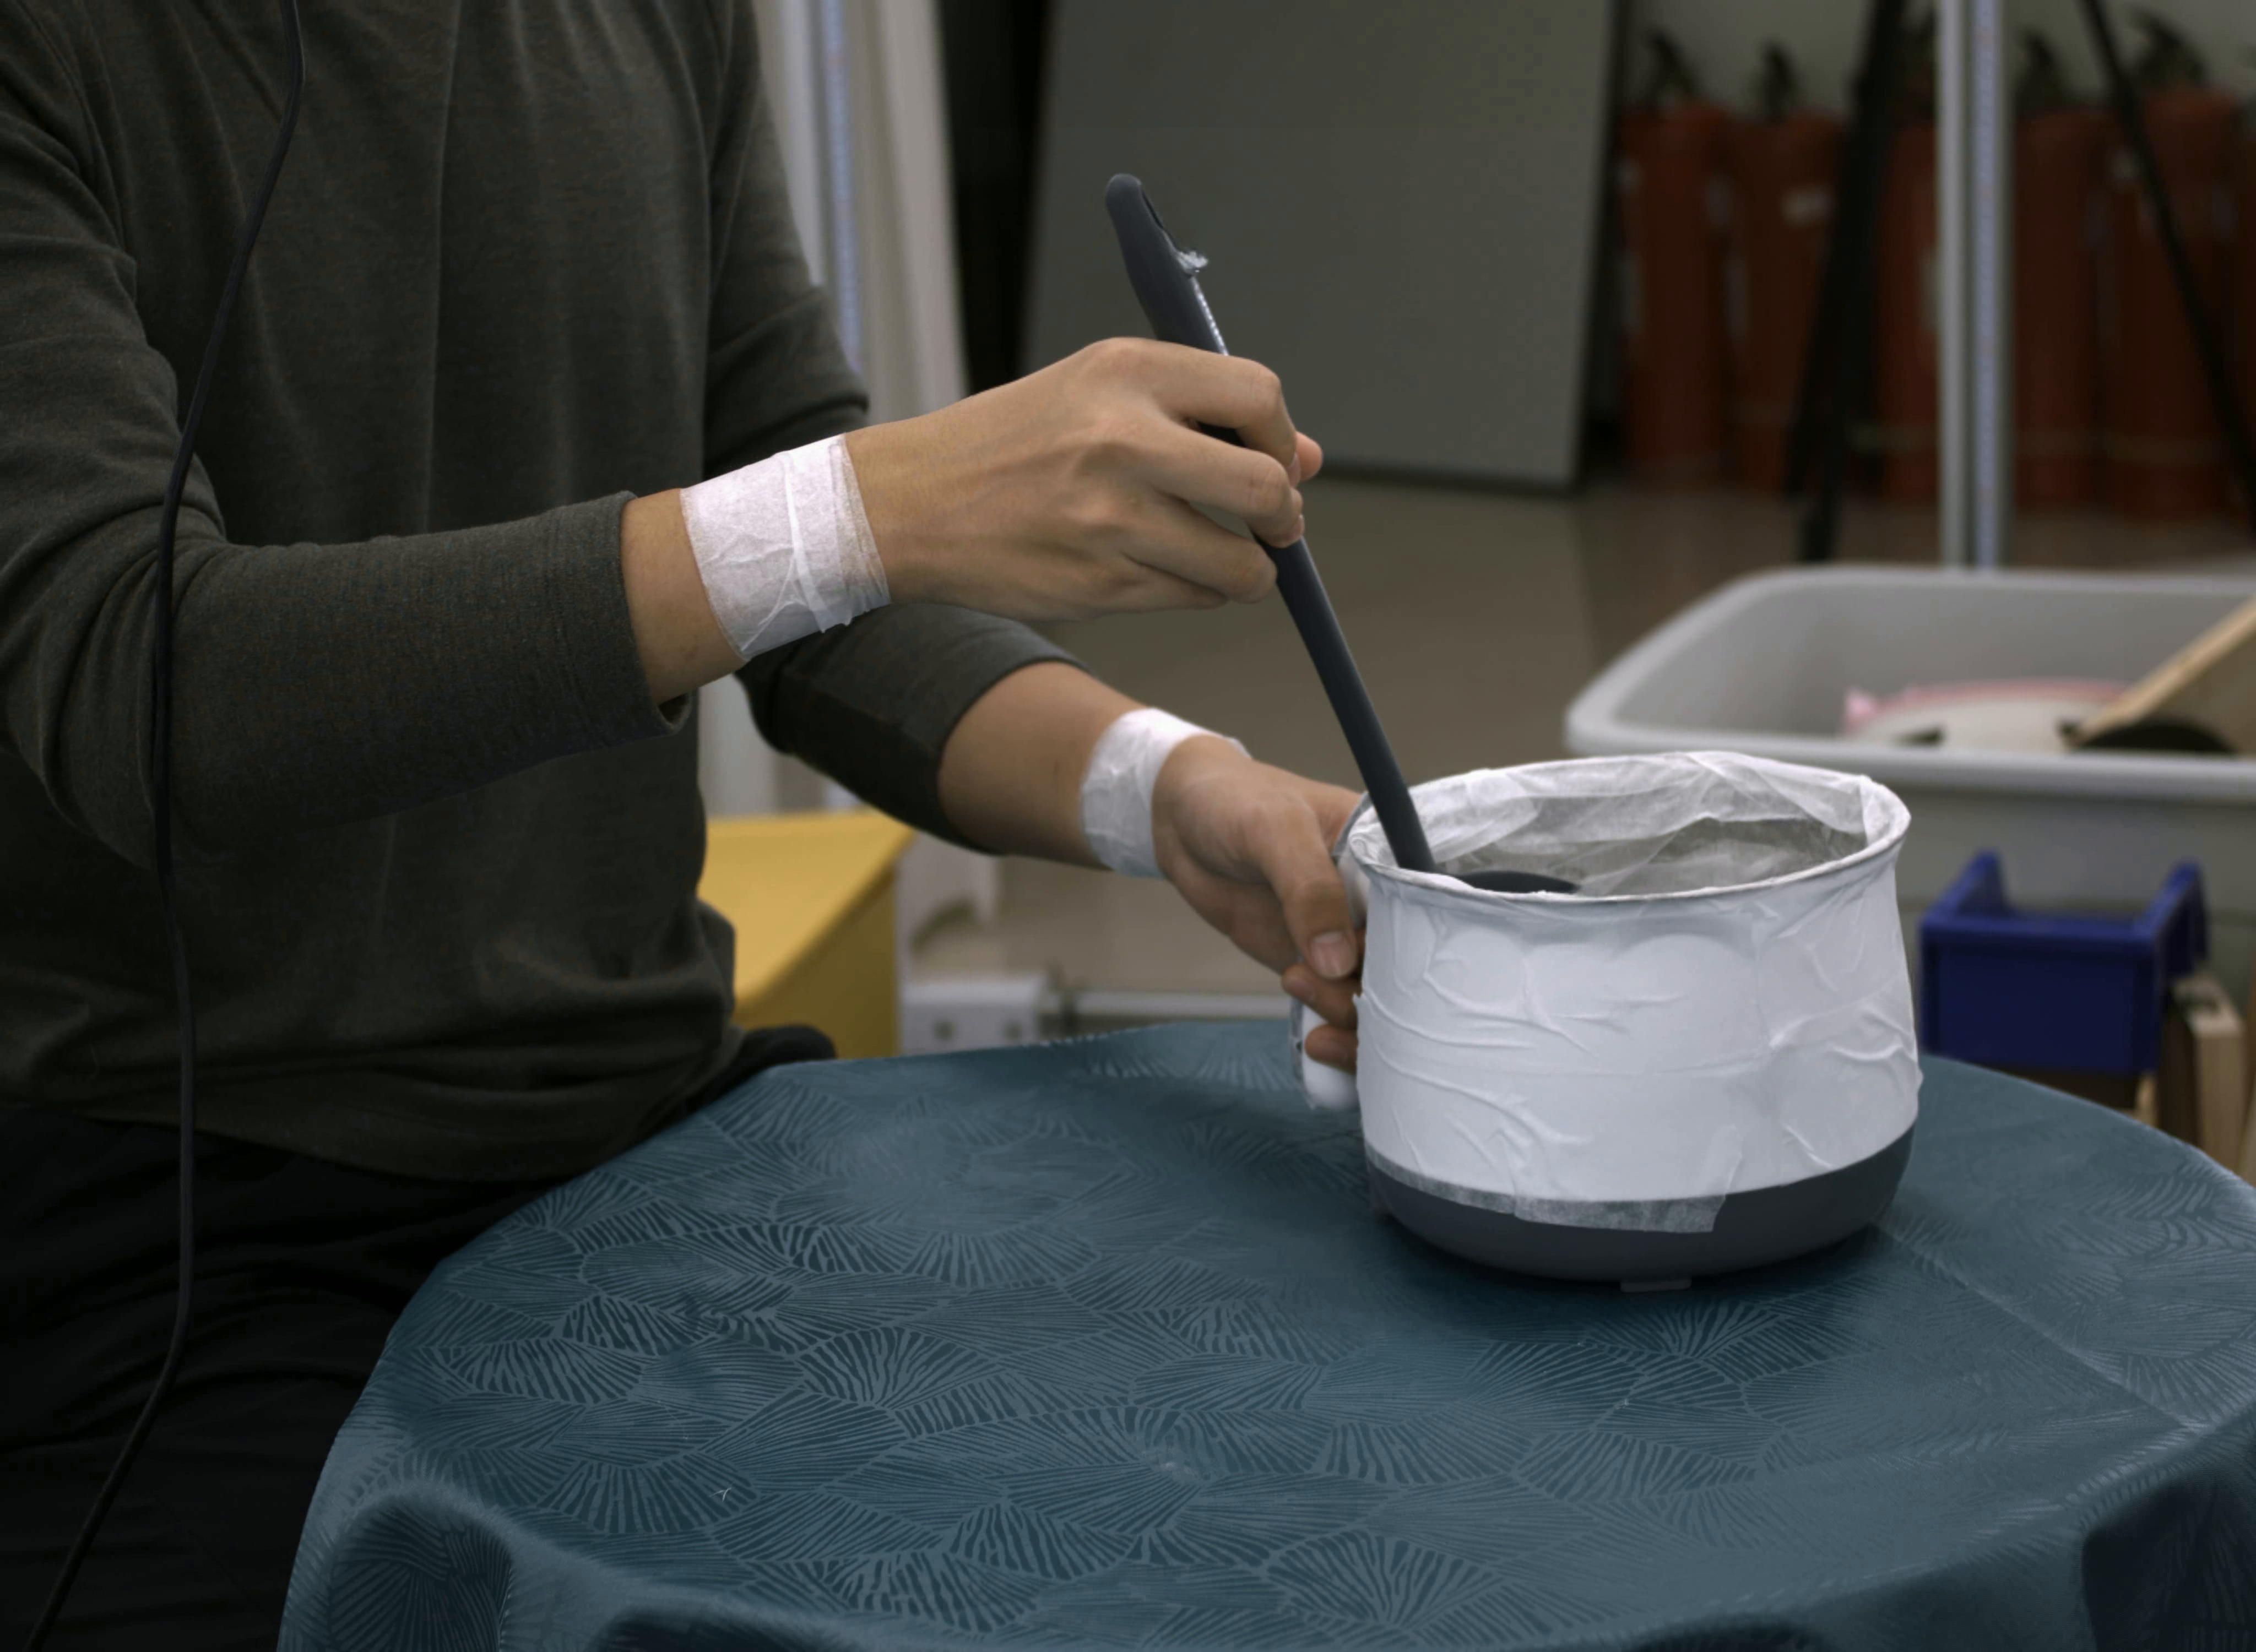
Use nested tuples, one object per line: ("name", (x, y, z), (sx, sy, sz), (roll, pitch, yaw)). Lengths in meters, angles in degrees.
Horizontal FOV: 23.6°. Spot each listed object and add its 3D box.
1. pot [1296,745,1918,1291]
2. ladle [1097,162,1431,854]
("pot", (0.141, 0.055, 1.712), (0.175, 0.138, 0.236), (-15, 18, -41))
("ladle", (0.078, -0.070, 1.641), (0.063, 0.314, 0.086), (-23, 20, 7))
